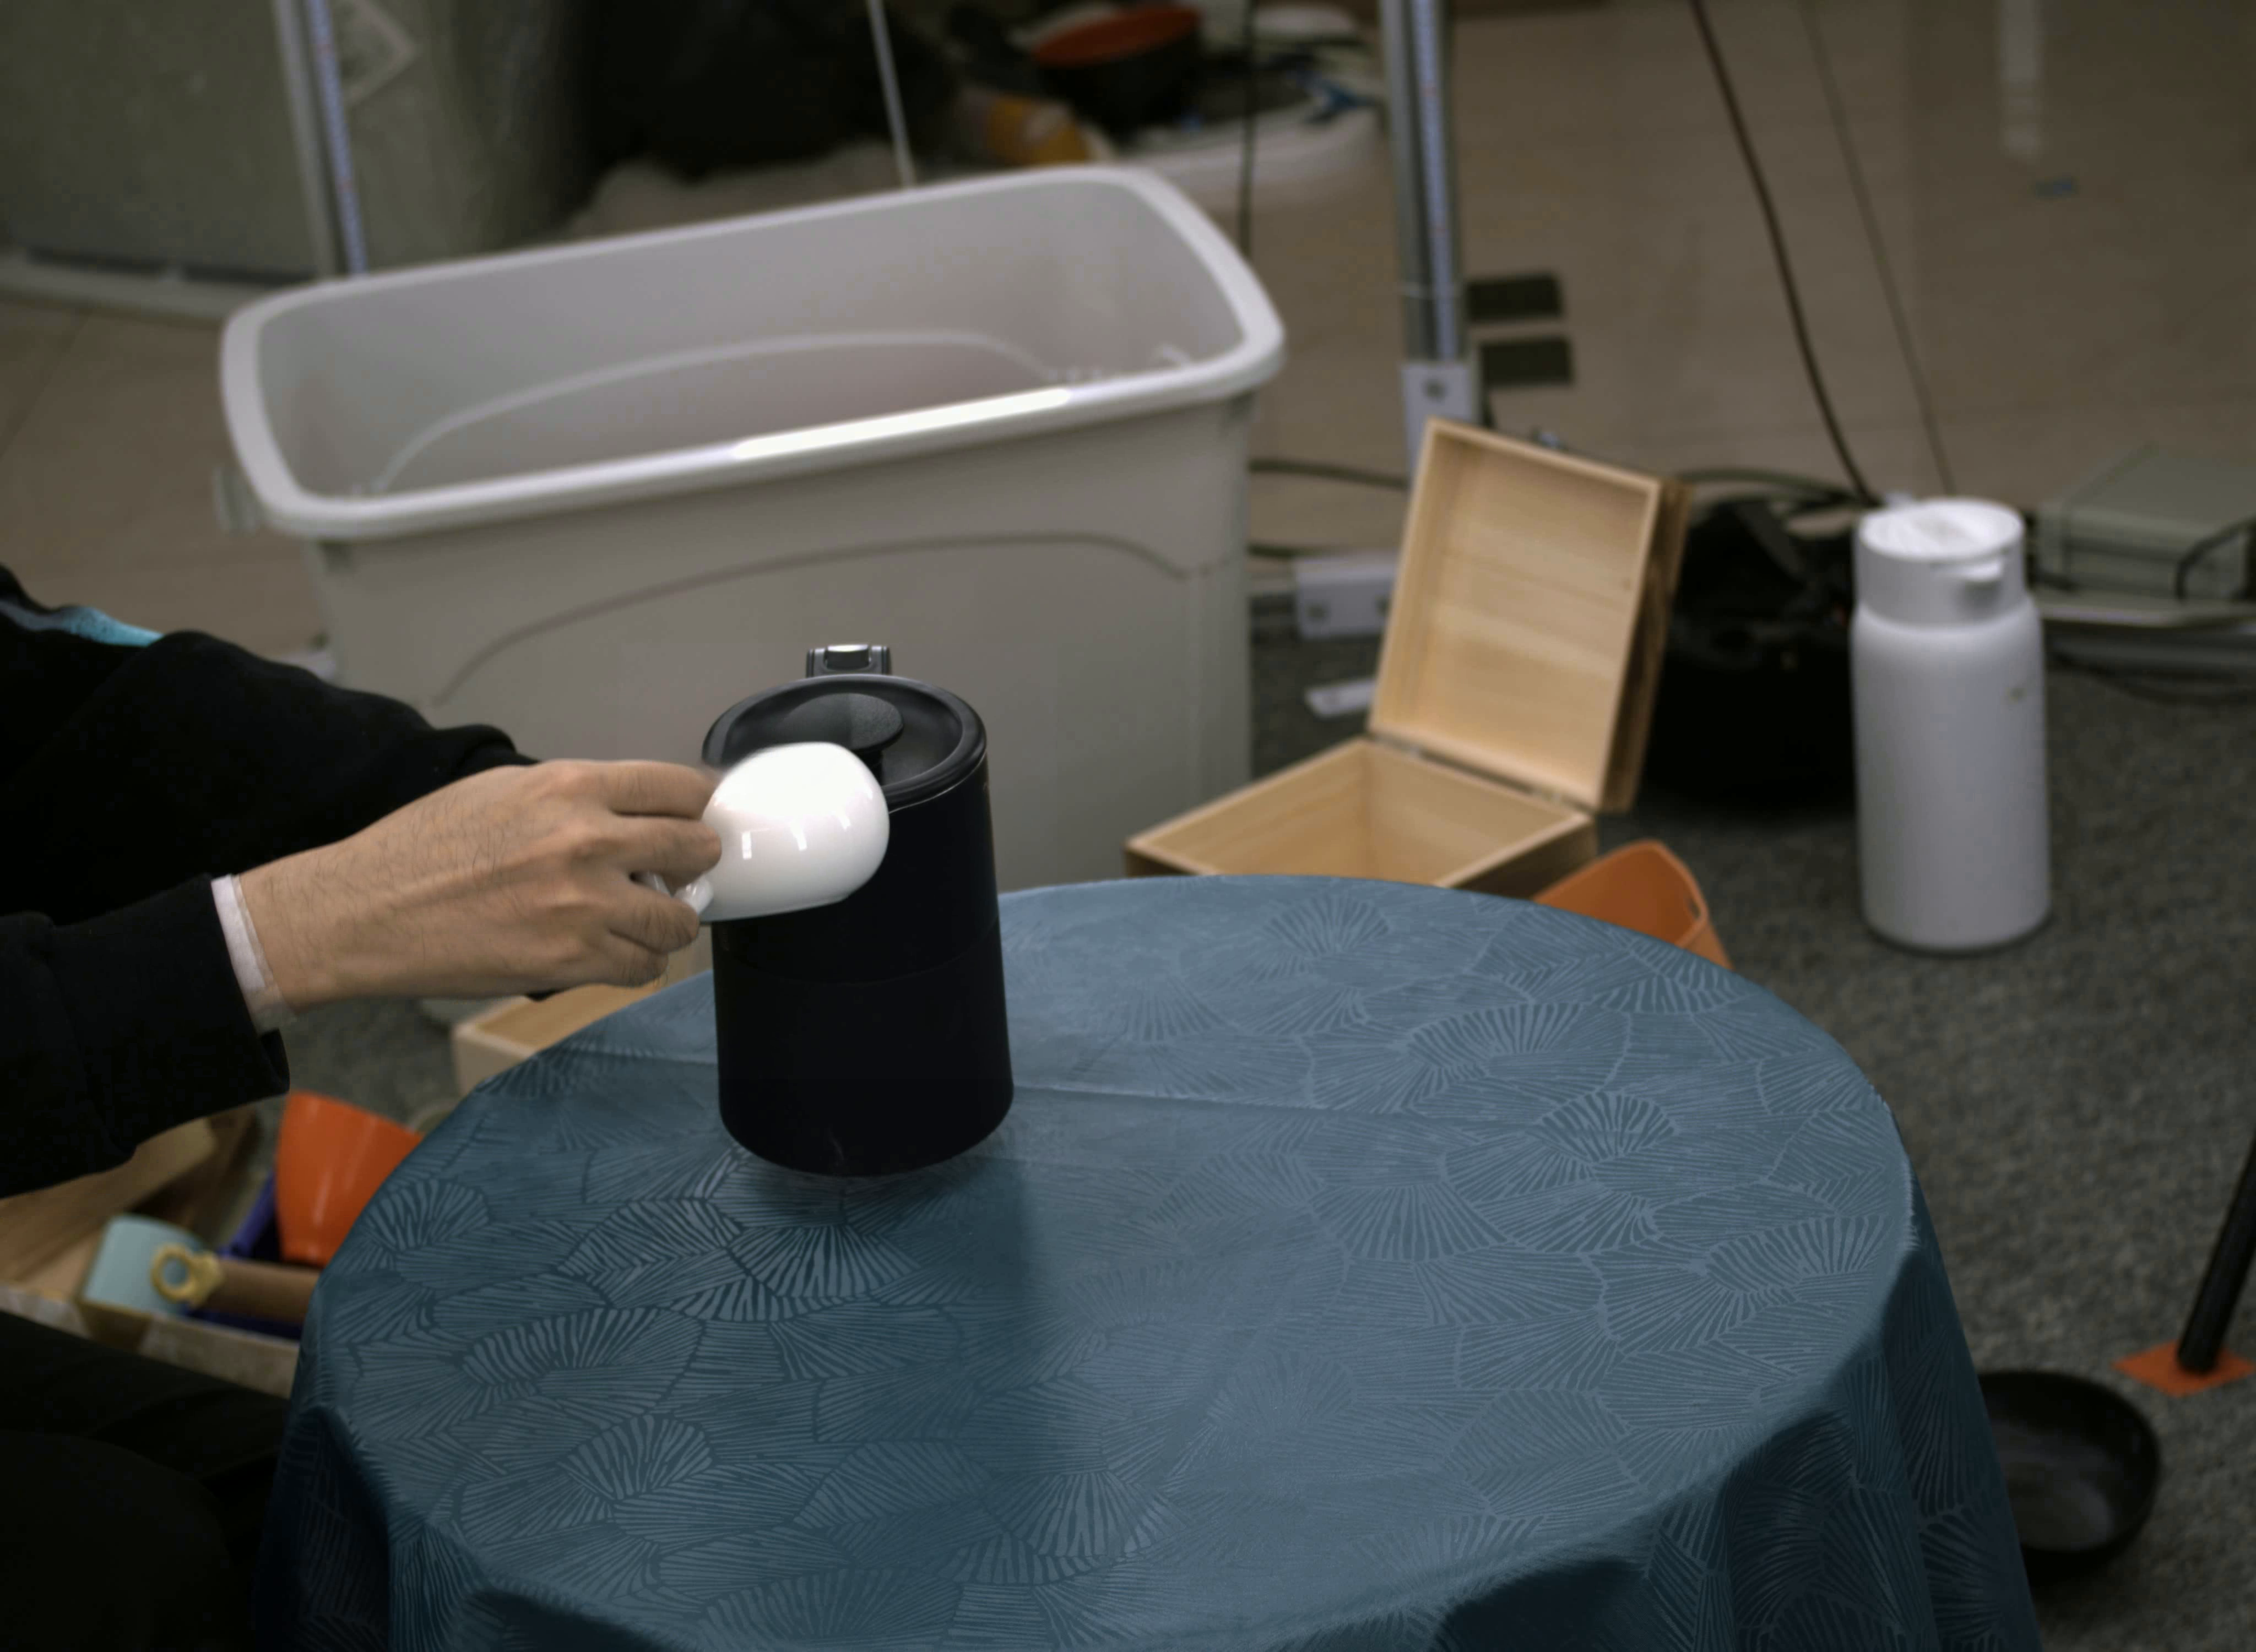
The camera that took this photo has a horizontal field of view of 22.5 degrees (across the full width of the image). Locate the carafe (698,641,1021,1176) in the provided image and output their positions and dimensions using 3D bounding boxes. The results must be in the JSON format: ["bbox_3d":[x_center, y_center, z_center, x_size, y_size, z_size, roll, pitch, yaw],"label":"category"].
[{"bbox_3d":[-0.105,0.022,2.166,0.114,0.176,0.169,-4,32,0],"label":"carafe"}]

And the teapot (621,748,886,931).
[{"bbox_3d":[-0.136,0.005,1.983,0.093,0.057,0.126,-3,7,24],"label":"teapot"}]
